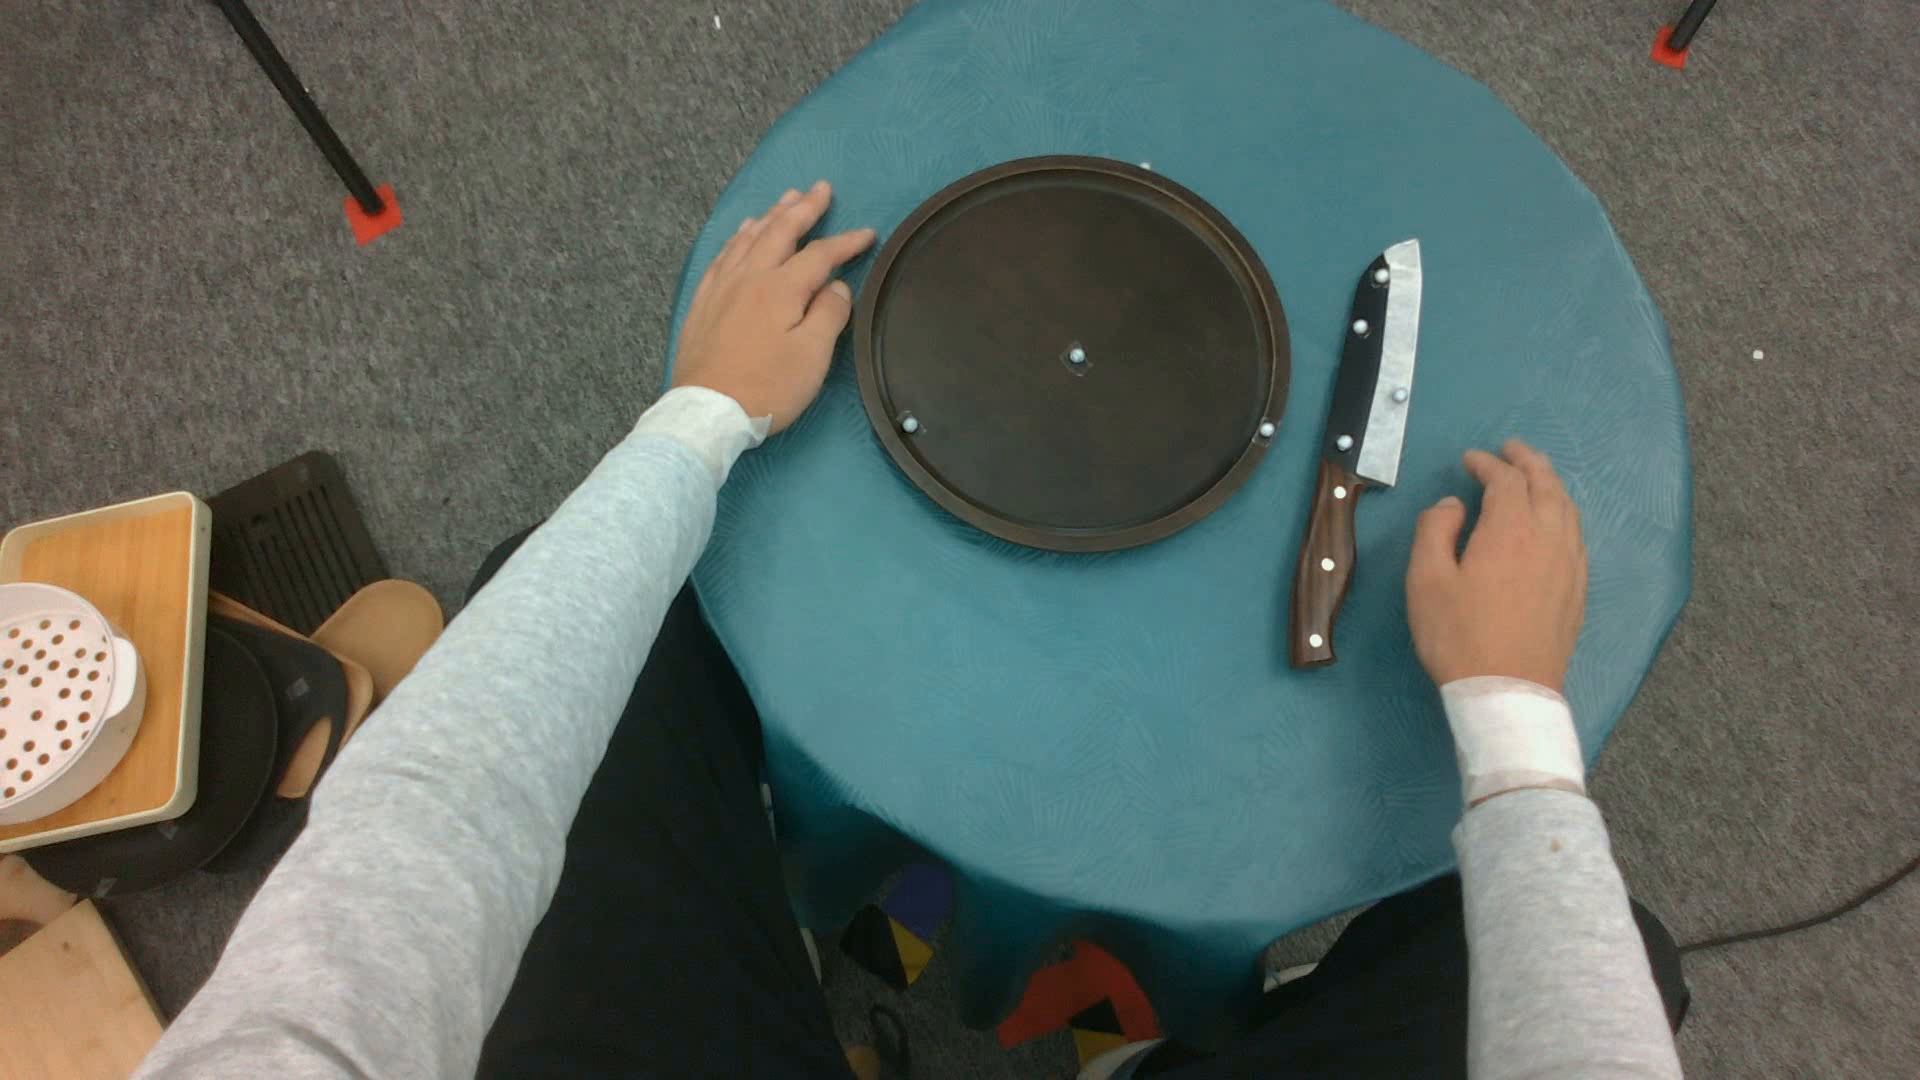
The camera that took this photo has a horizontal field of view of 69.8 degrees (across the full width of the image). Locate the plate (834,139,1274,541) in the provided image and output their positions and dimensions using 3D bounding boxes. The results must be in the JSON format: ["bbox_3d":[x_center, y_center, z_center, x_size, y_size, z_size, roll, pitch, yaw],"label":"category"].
[{"bbox_3d":[0.054,-0.119,0.796,0.255,0.029,0.255,1,73,-4],"label":"plate"}]

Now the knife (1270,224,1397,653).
[{"bbox_3d":[0.218,-0.066,0.793,0.050,0.020,0.290,19,69,-2],"label":"knife"}]
